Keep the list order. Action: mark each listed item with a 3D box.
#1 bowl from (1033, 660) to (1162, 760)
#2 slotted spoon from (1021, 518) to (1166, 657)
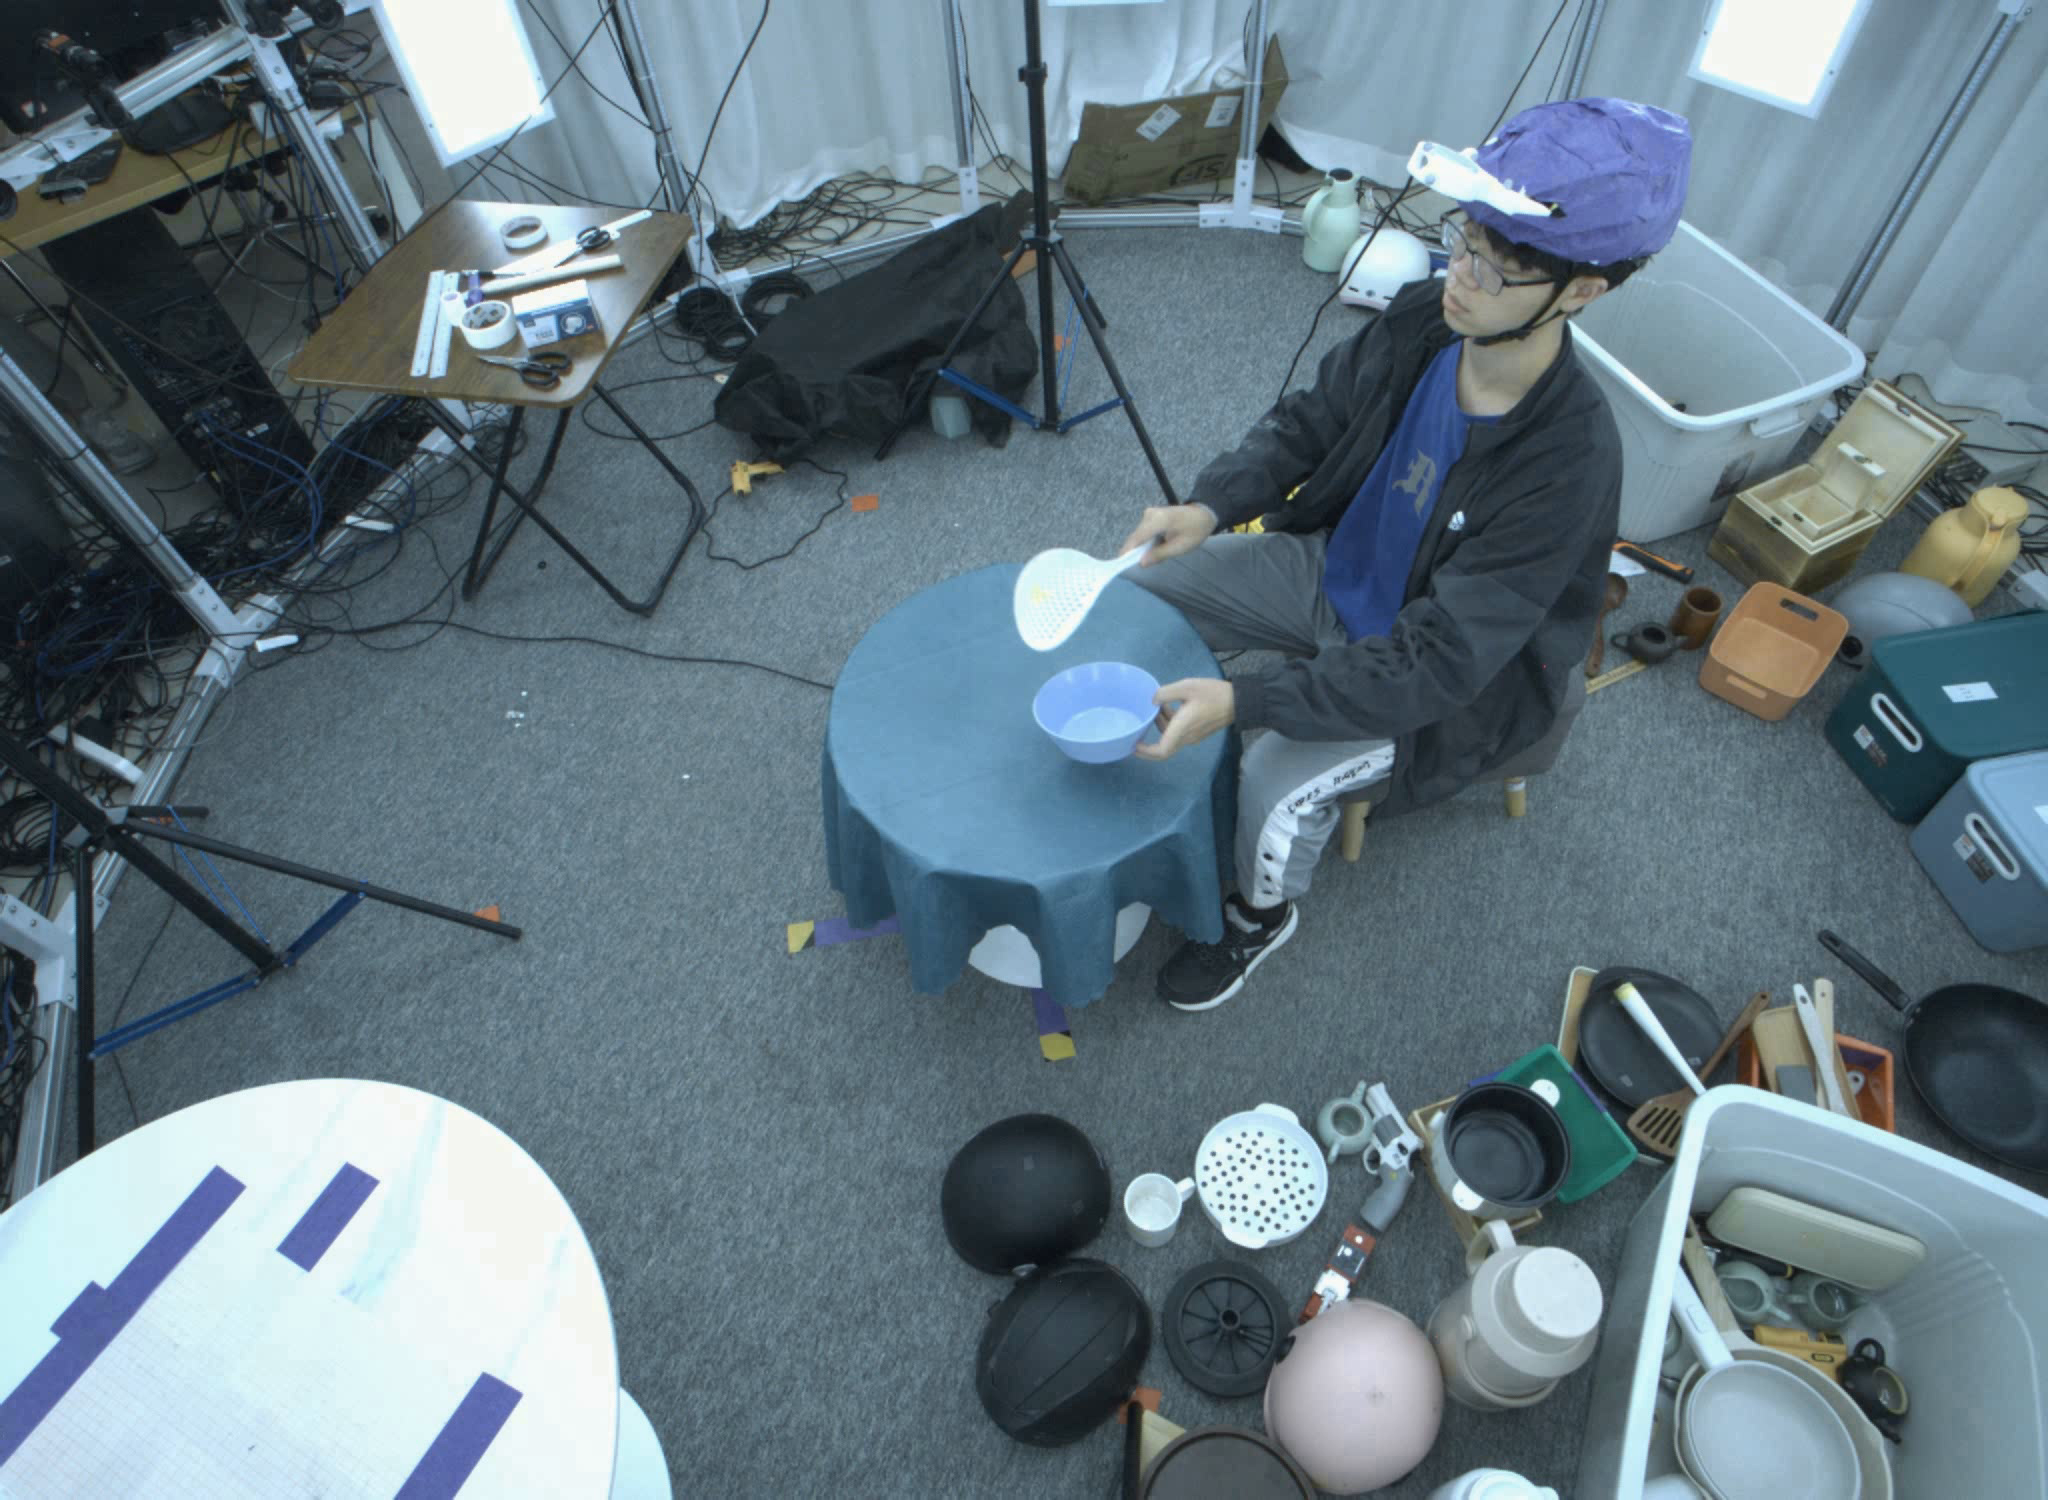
[{"bbox_3d":[0.103,-0.046,1.686,0.175,0.071,0.174,-4,40,5],"label":"bowl"},{"bbox_3d":[0.107,-0.248,1.716,0.049,0.138,0.352,18,40,42],"label":"slotted spoon"}]
